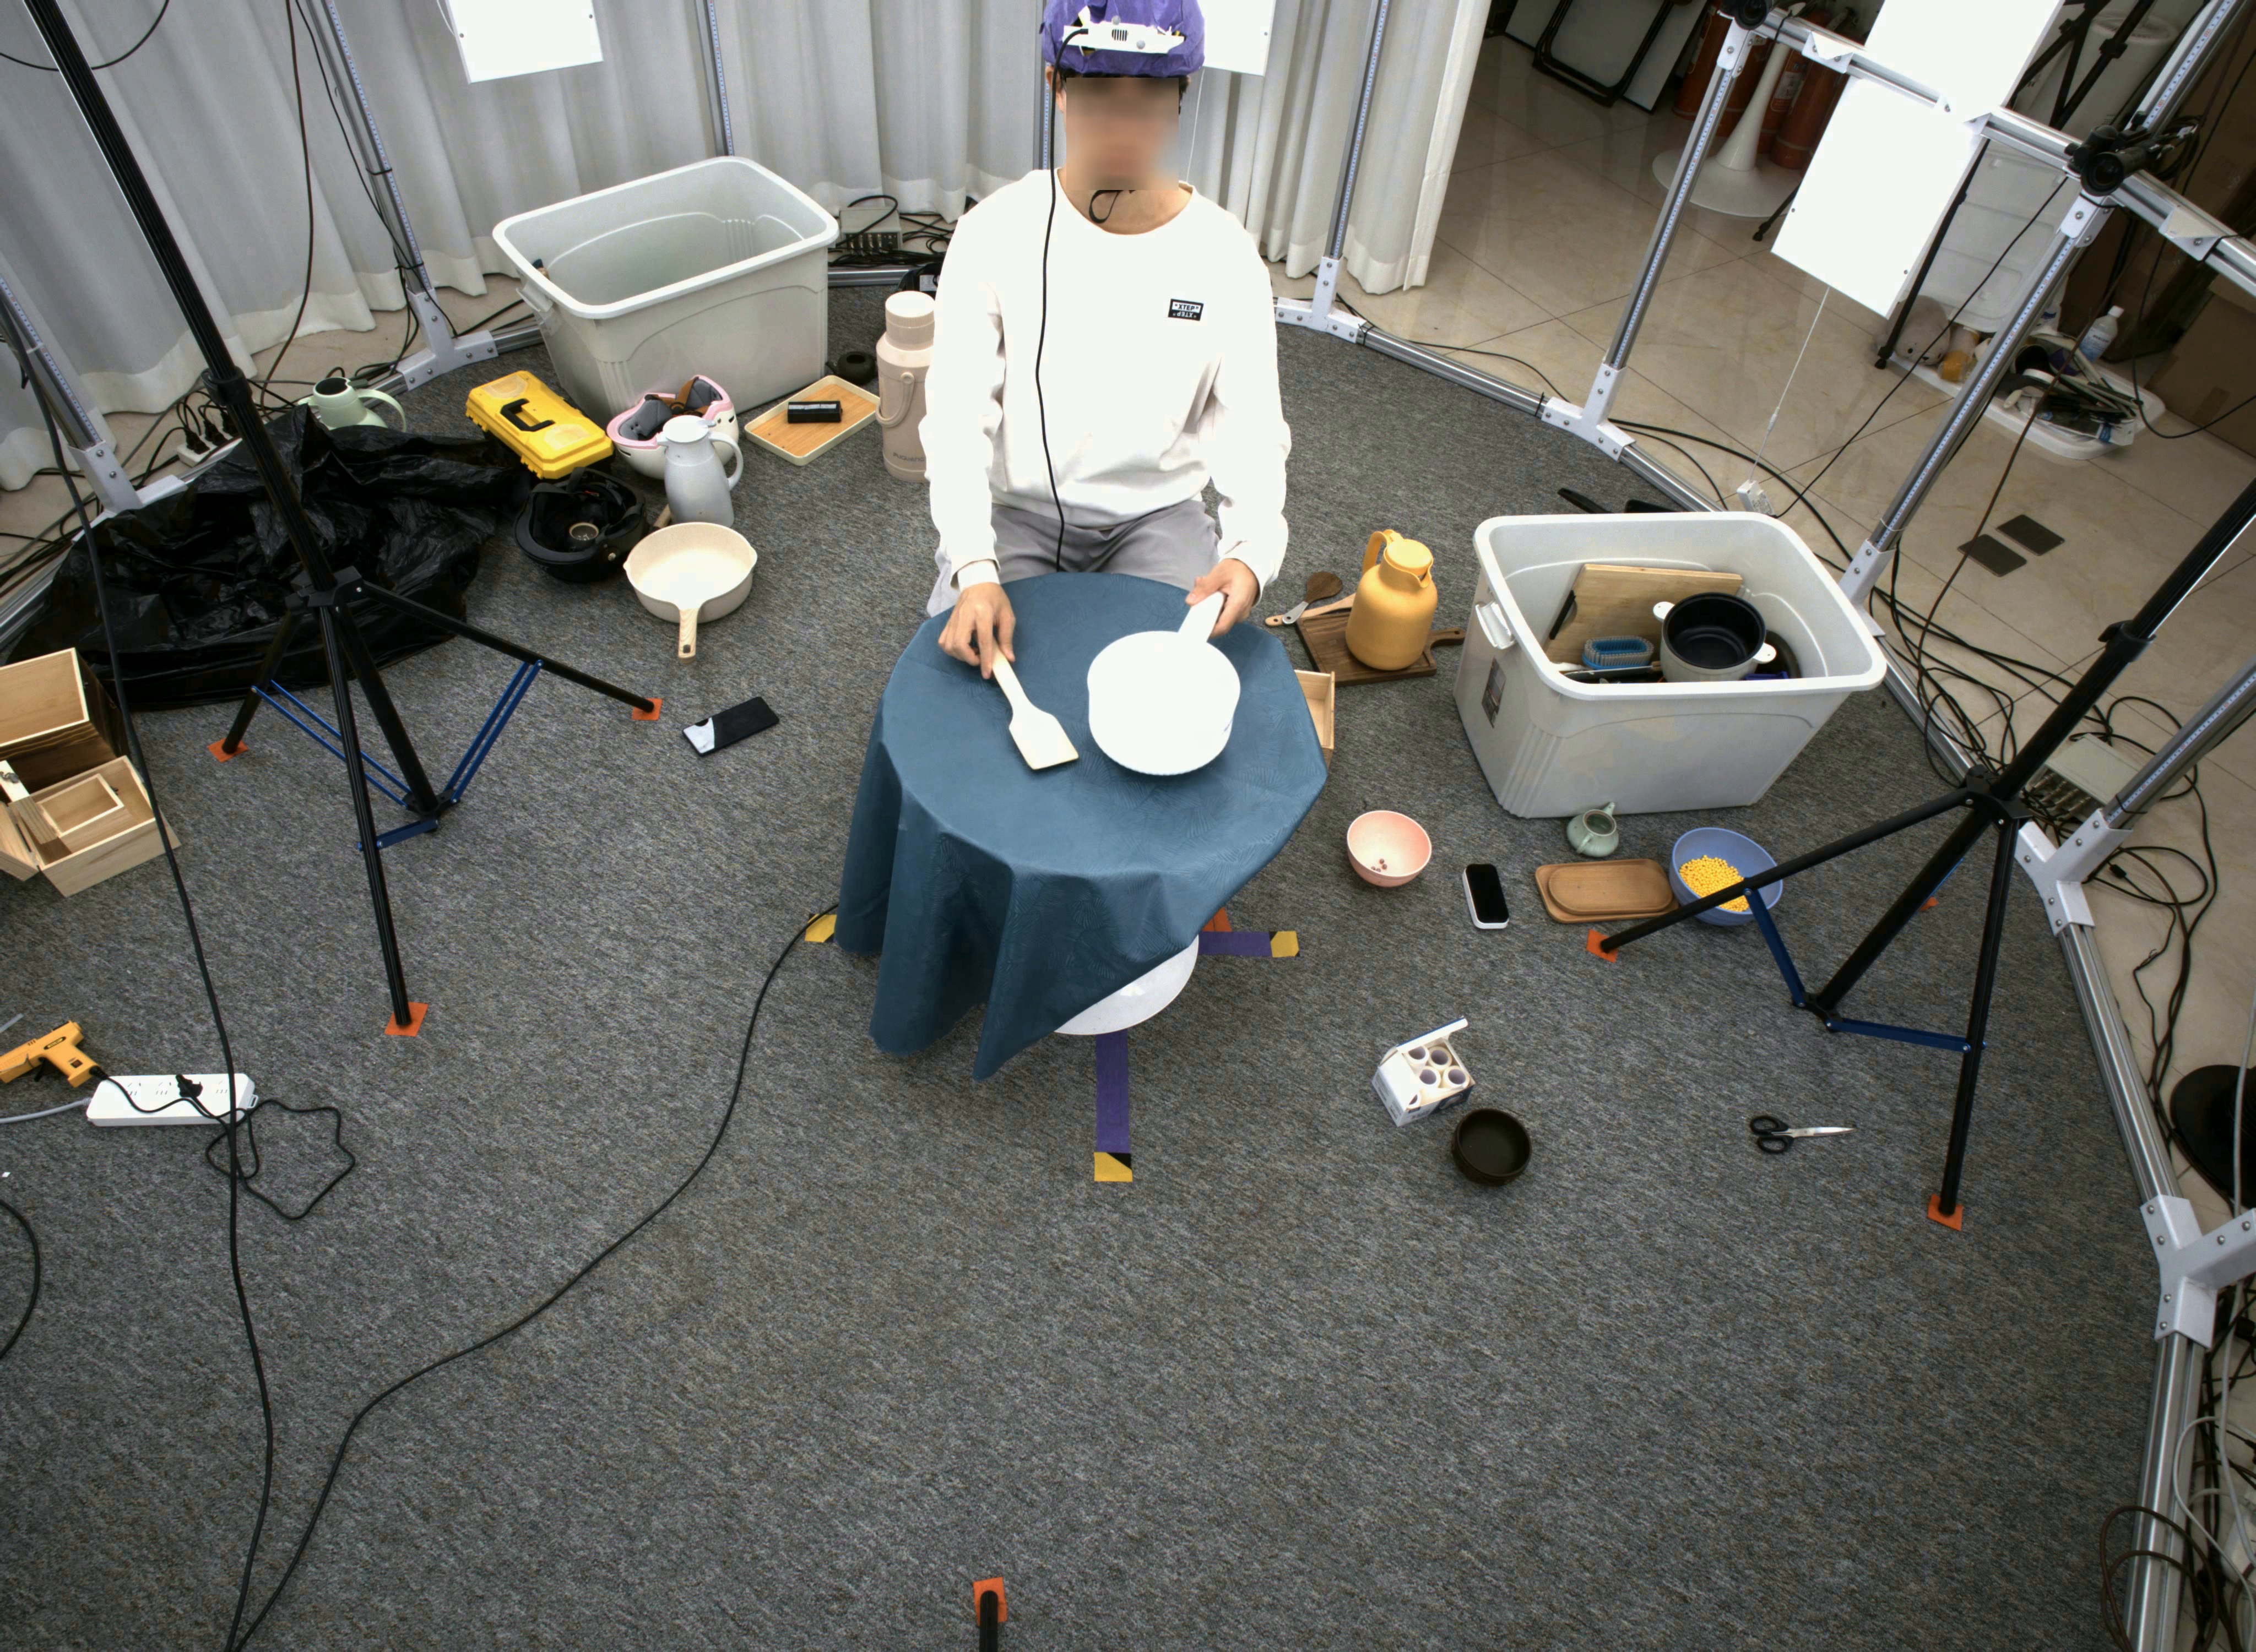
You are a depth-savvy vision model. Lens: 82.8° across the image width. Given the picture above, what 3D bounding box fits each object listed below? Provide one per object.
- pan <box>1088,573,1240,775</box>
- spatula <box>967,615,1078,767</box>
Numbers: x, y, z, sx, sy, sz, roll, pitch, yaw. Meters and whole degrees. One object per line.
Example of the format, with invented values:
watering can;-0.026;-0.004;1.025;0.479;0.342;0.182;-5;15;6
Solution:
pan;0.073;-0.213;1.775;0.202;0.099;0.362;16;48;13
spatula;-0.161;-0.195;1.798;0.072;0.010;0.299;-16;56;-22
